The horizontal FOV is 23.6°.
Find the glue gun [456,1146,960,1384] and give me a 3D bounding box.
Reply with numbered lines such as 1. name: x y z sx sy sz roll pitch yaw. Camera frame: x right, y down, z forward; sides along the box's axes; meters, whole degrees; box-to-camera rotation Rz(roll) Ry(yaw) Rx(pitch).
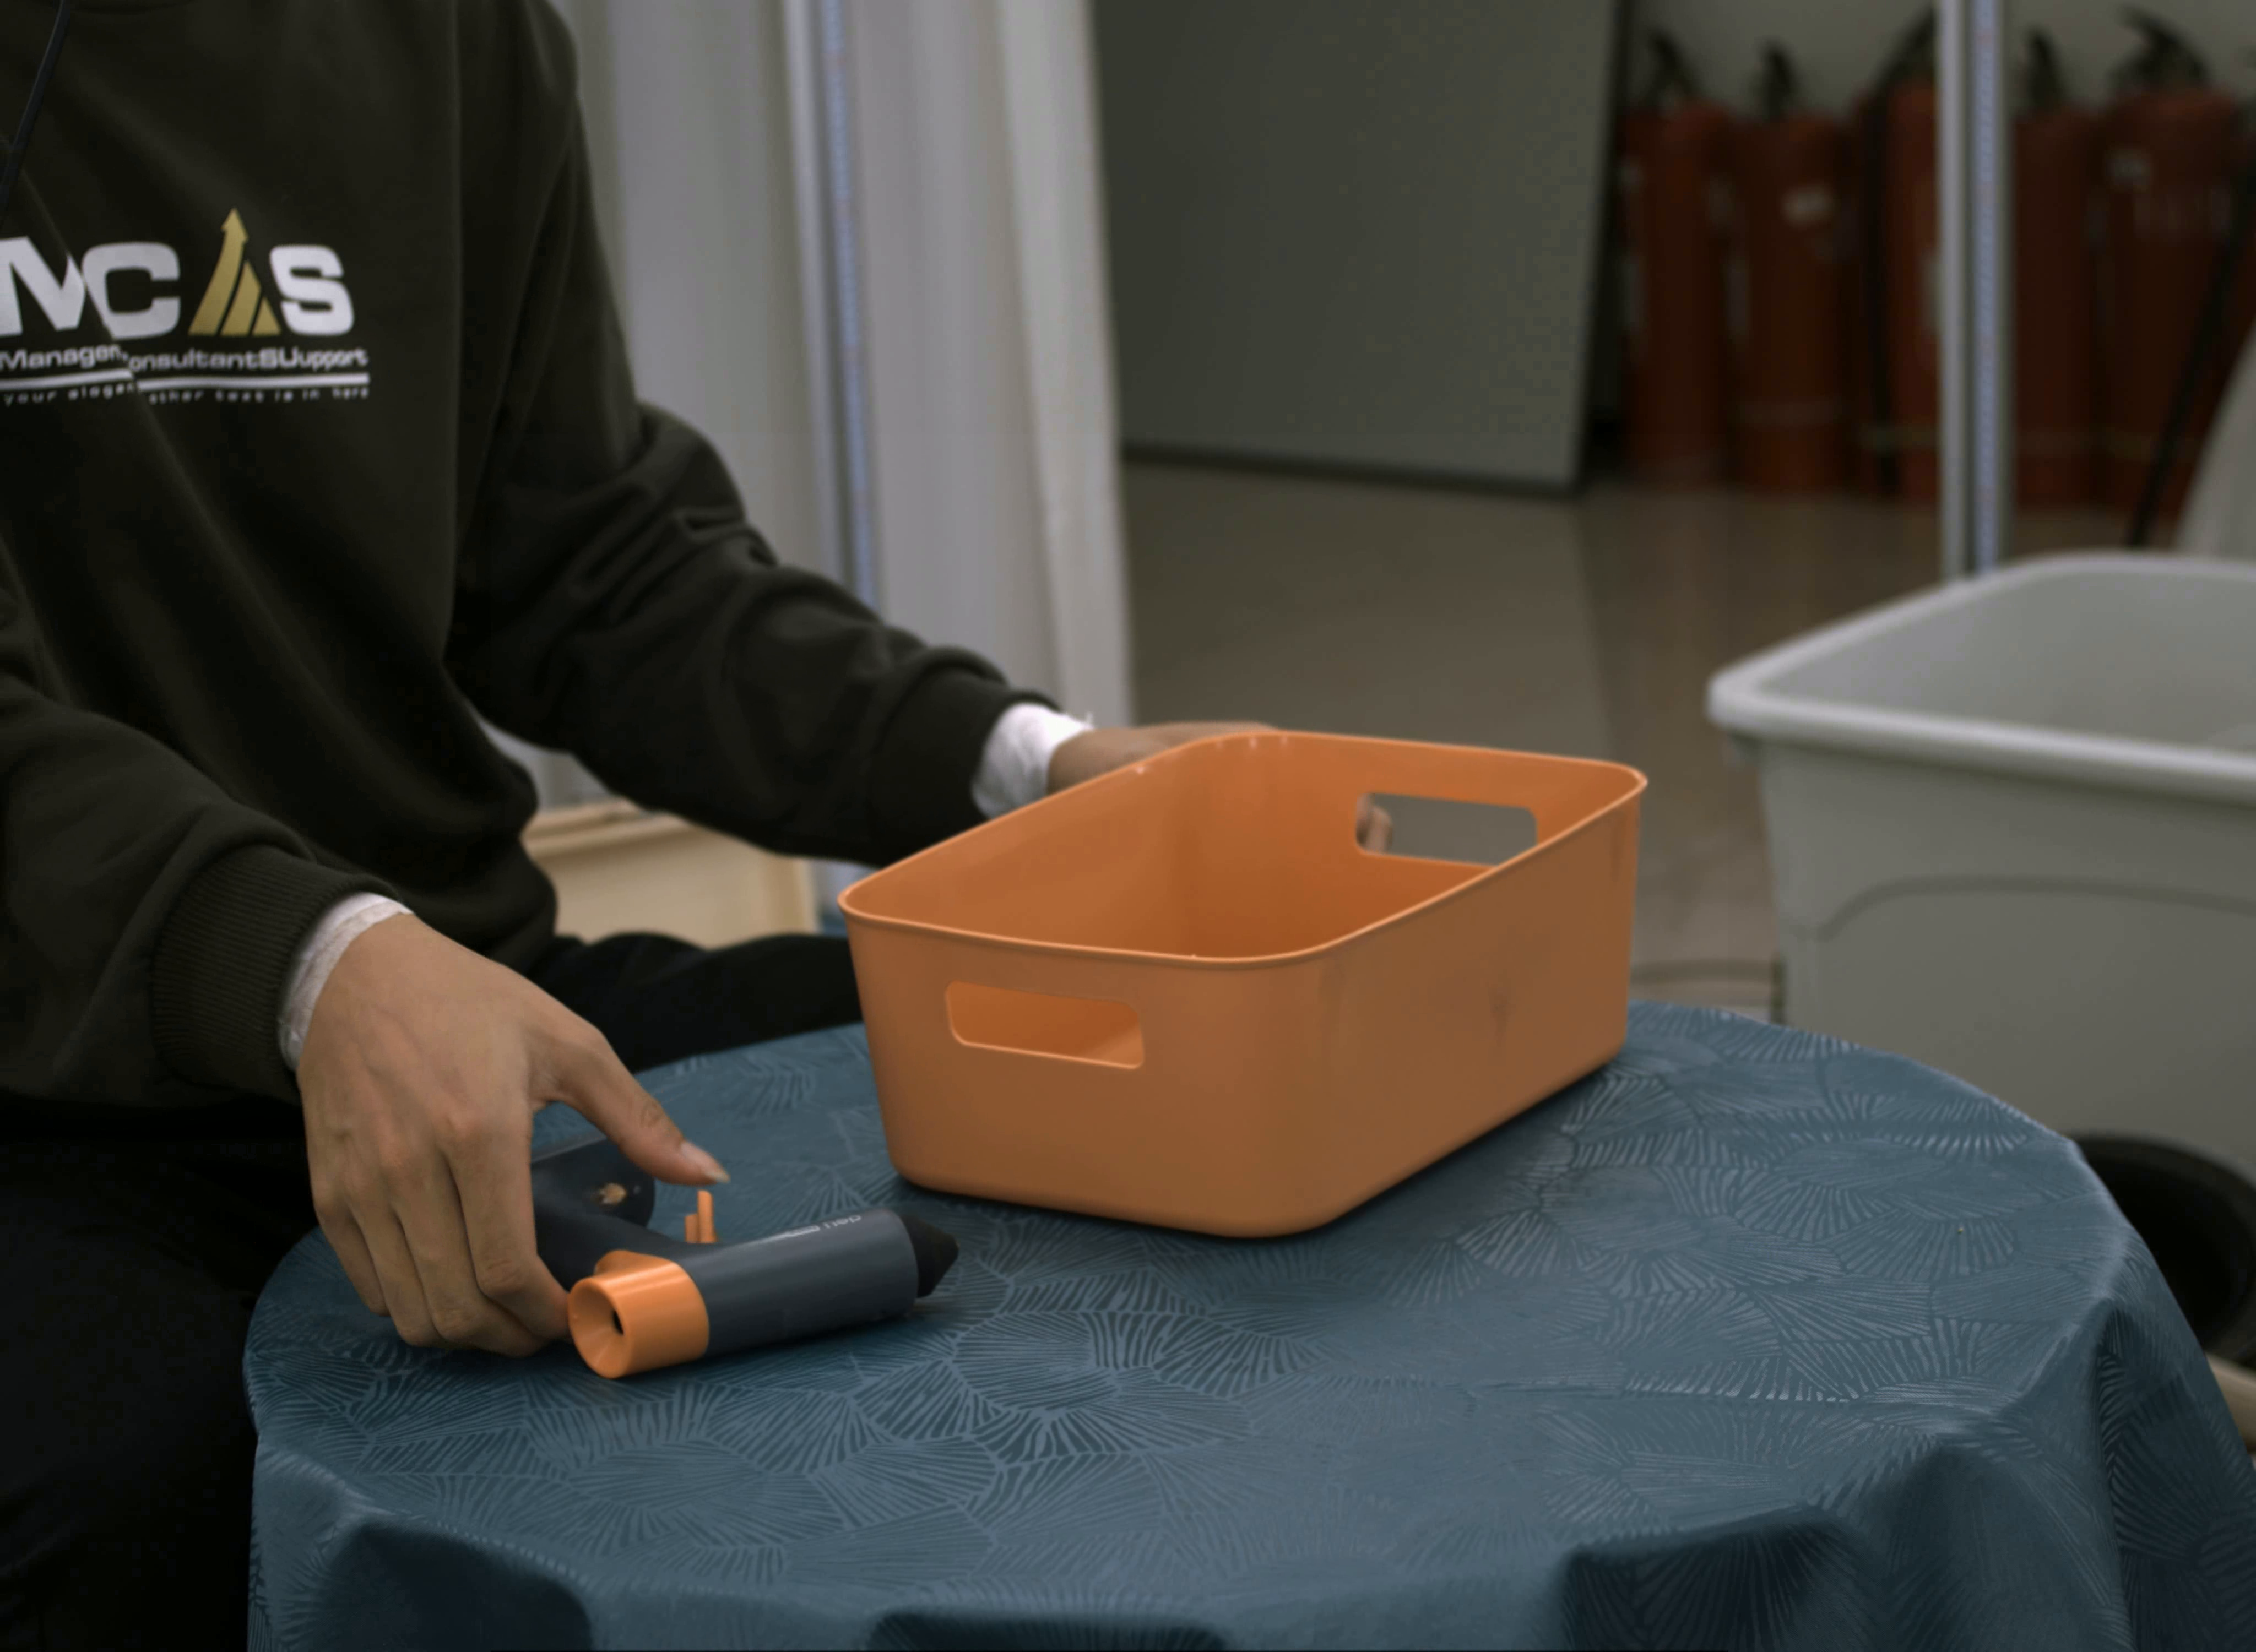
1. glue gun: -0.135 0.137 1.690 0.115 0.041 0.141 -14 19 -41

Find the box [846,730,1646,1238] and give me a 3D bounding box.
1. box: 0.045 0.051 1.834 0.200 0.103 0.268 5 17 34
